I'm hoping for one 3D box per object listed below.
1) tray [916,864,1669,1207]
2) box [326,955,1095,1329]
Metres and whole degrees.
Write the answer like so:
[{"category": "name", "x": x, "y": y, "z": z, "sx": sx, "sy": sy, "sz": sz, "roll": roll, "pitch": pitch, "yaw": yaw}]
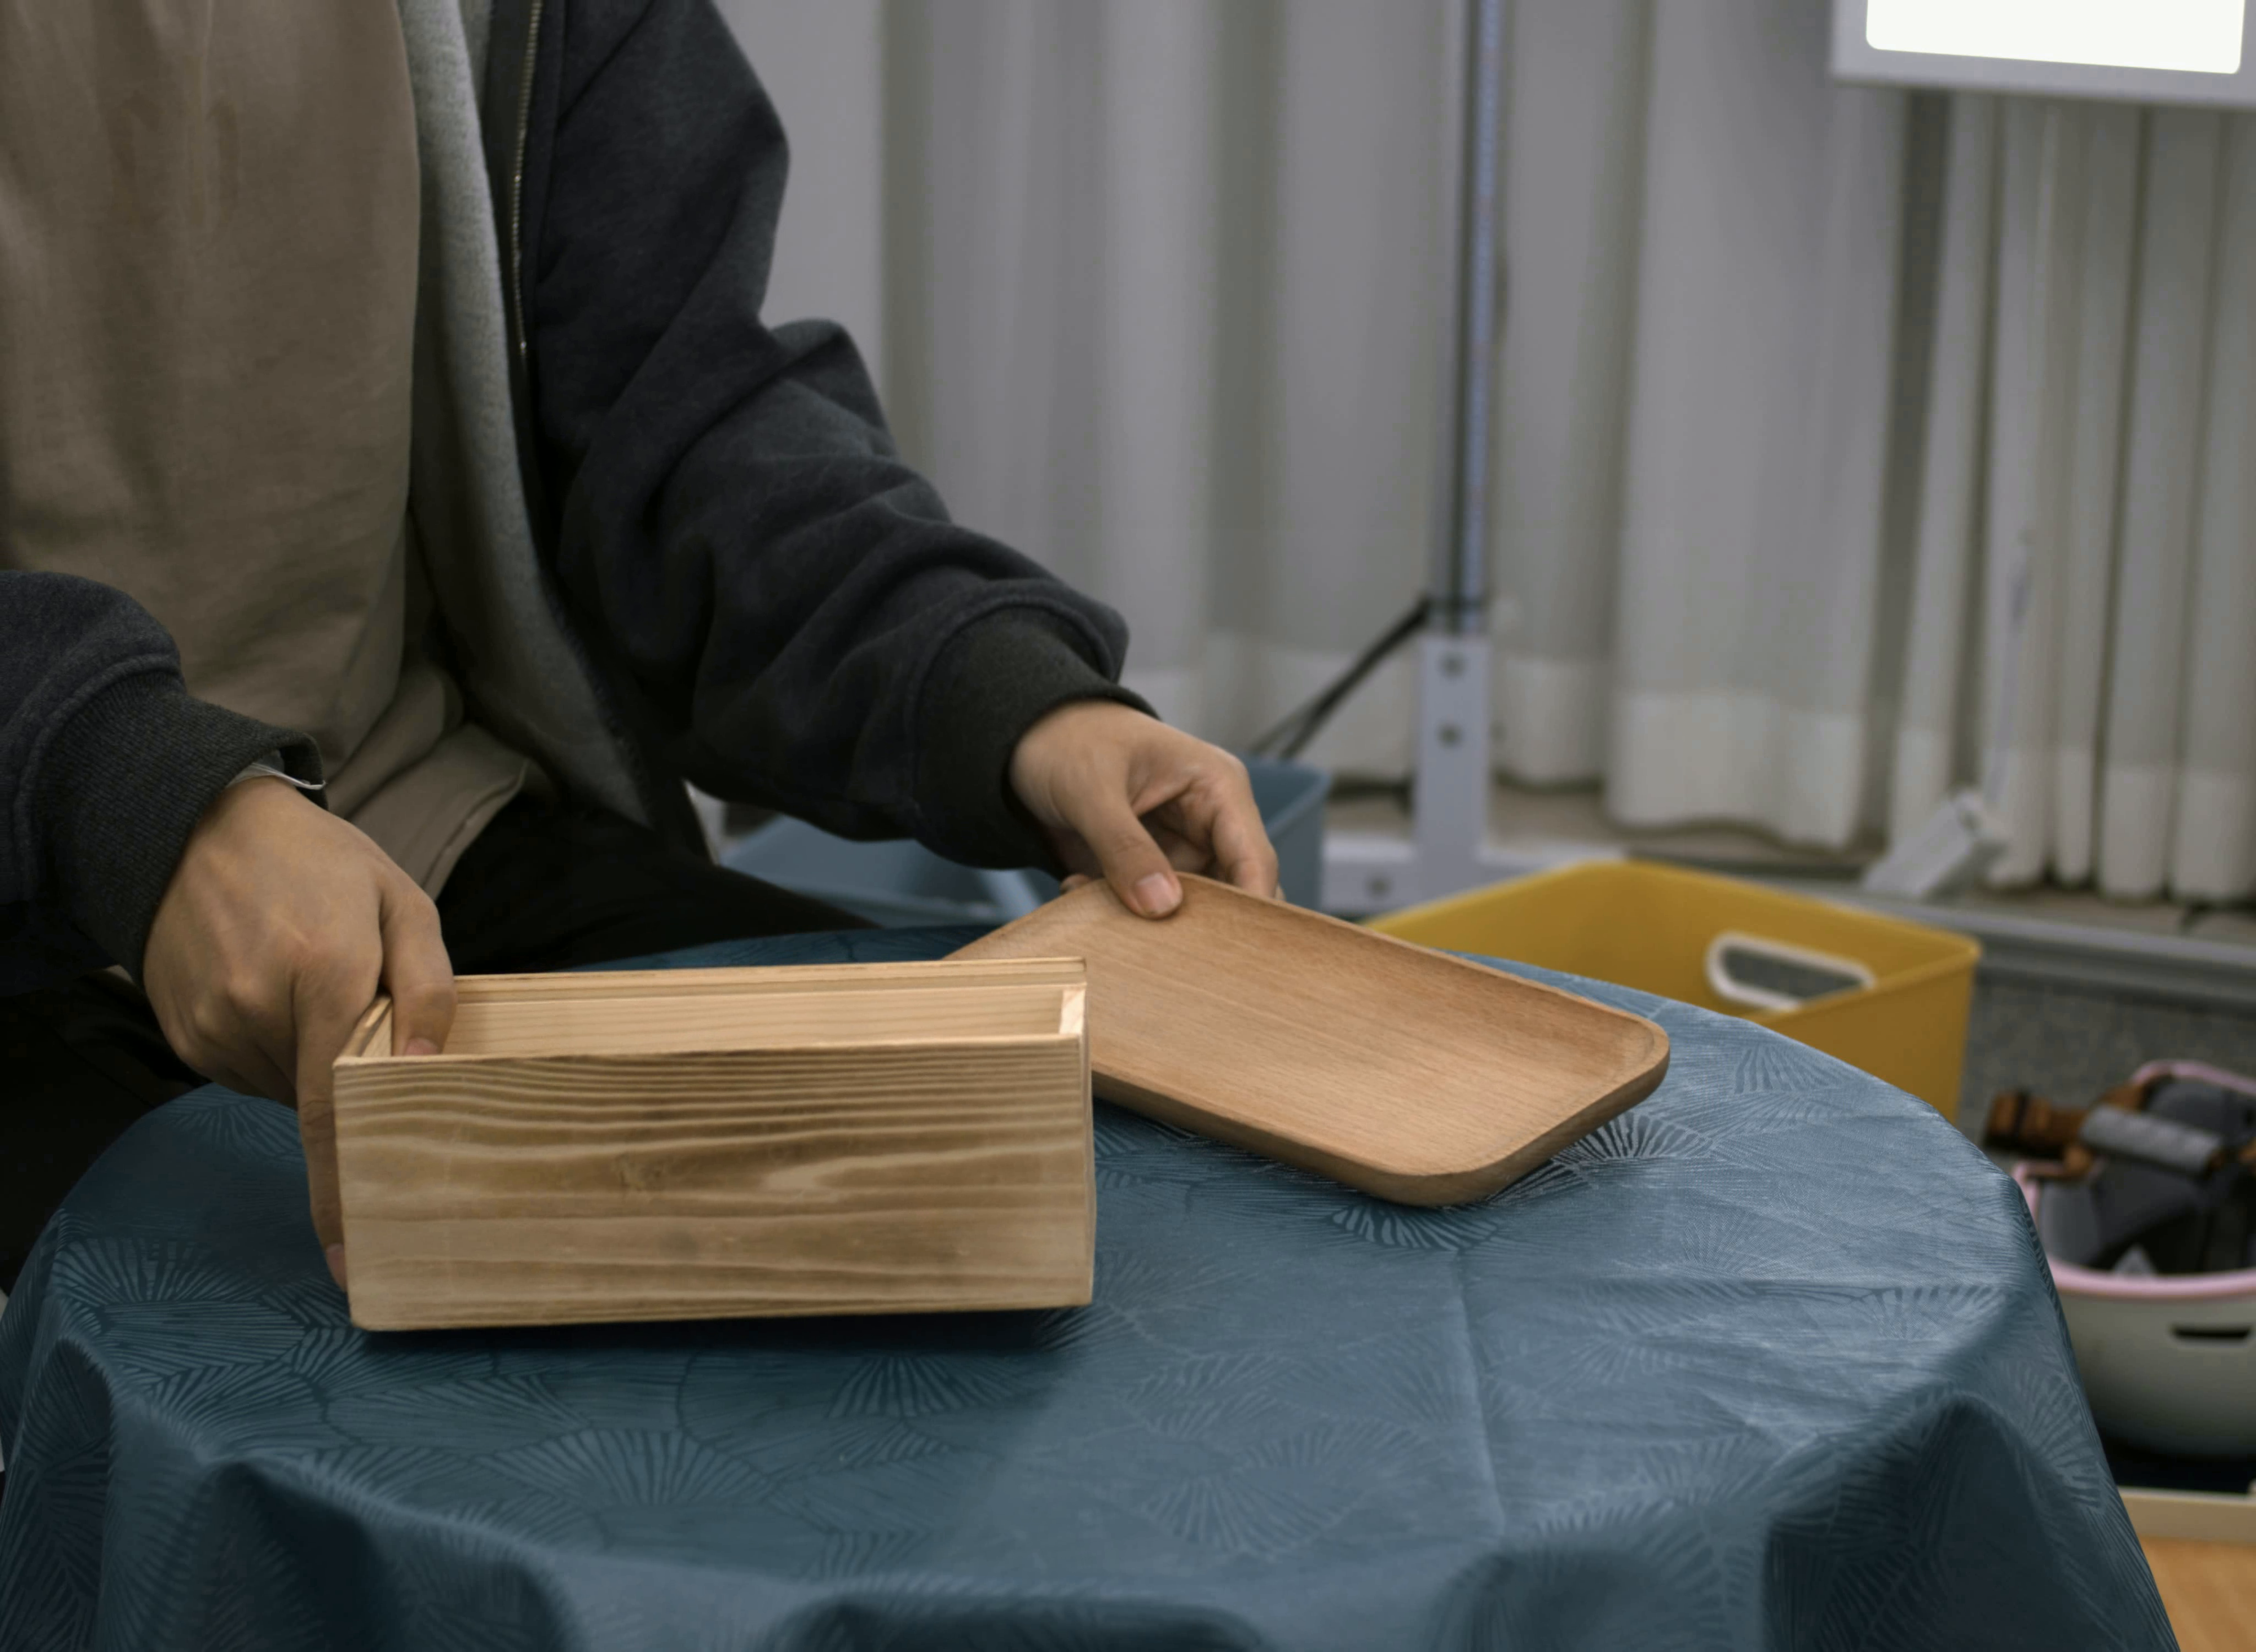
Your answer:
[{"category": "tray", "x": 0.050, "y": 0.066, "z": 1.709, "sx": 0.247, "sy": 0.023, "sz": 0.131, "roll": 17, "pitch": 30, "yaw": 41}, {"category": "box", "x": -0.117, "y": 0.090, "z": 1.523, "sx": 0.211, "sy": 0.081, "sz": 0.107, "roll": -2, "pitch": 12, "yaw": 0}]
